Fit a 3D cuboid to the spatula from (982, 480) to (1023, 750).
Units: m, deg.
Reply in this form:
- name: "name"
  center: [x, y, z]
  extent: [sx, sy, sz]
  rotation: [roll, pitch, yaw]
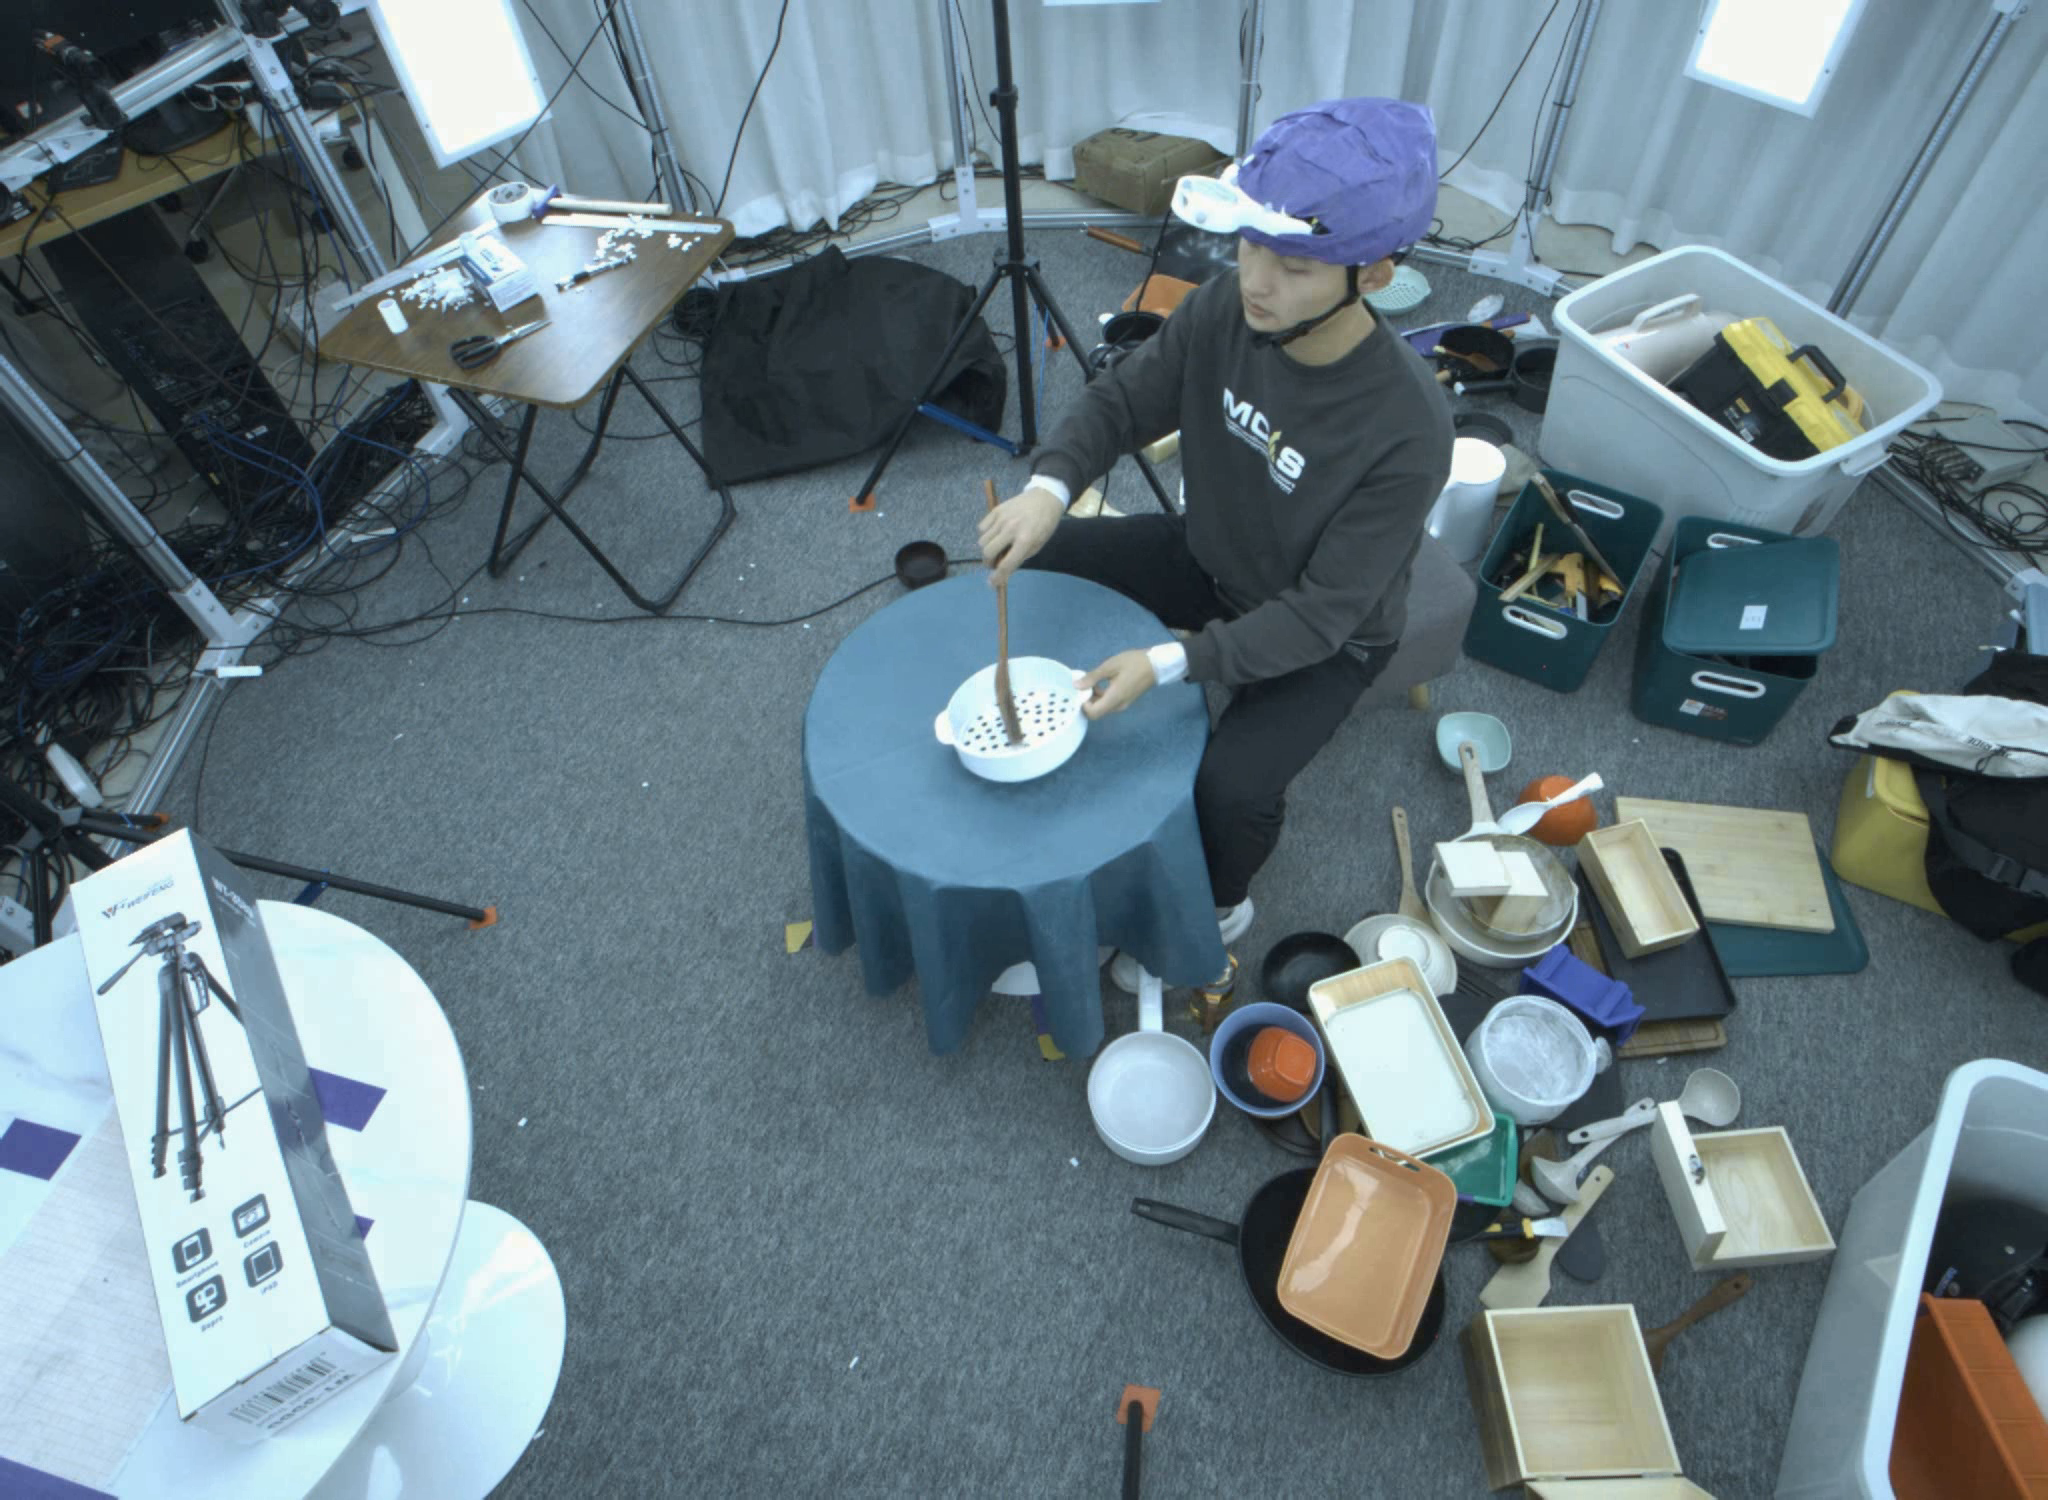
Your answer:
- name: "spatula"
  center: [-0.038, -0.192, 1.725]
  extent: [0.023, 0.086, 0.385]
  rotation: [-5, 89, 14]

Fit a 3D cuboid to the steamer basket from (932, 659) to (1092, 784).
- name: "steamer basket"
  center: [-0.013, -0.039, 1.765]
  extent: [0.231, 0.070, 0.198]
  rotation: [-14, 46, -1]
